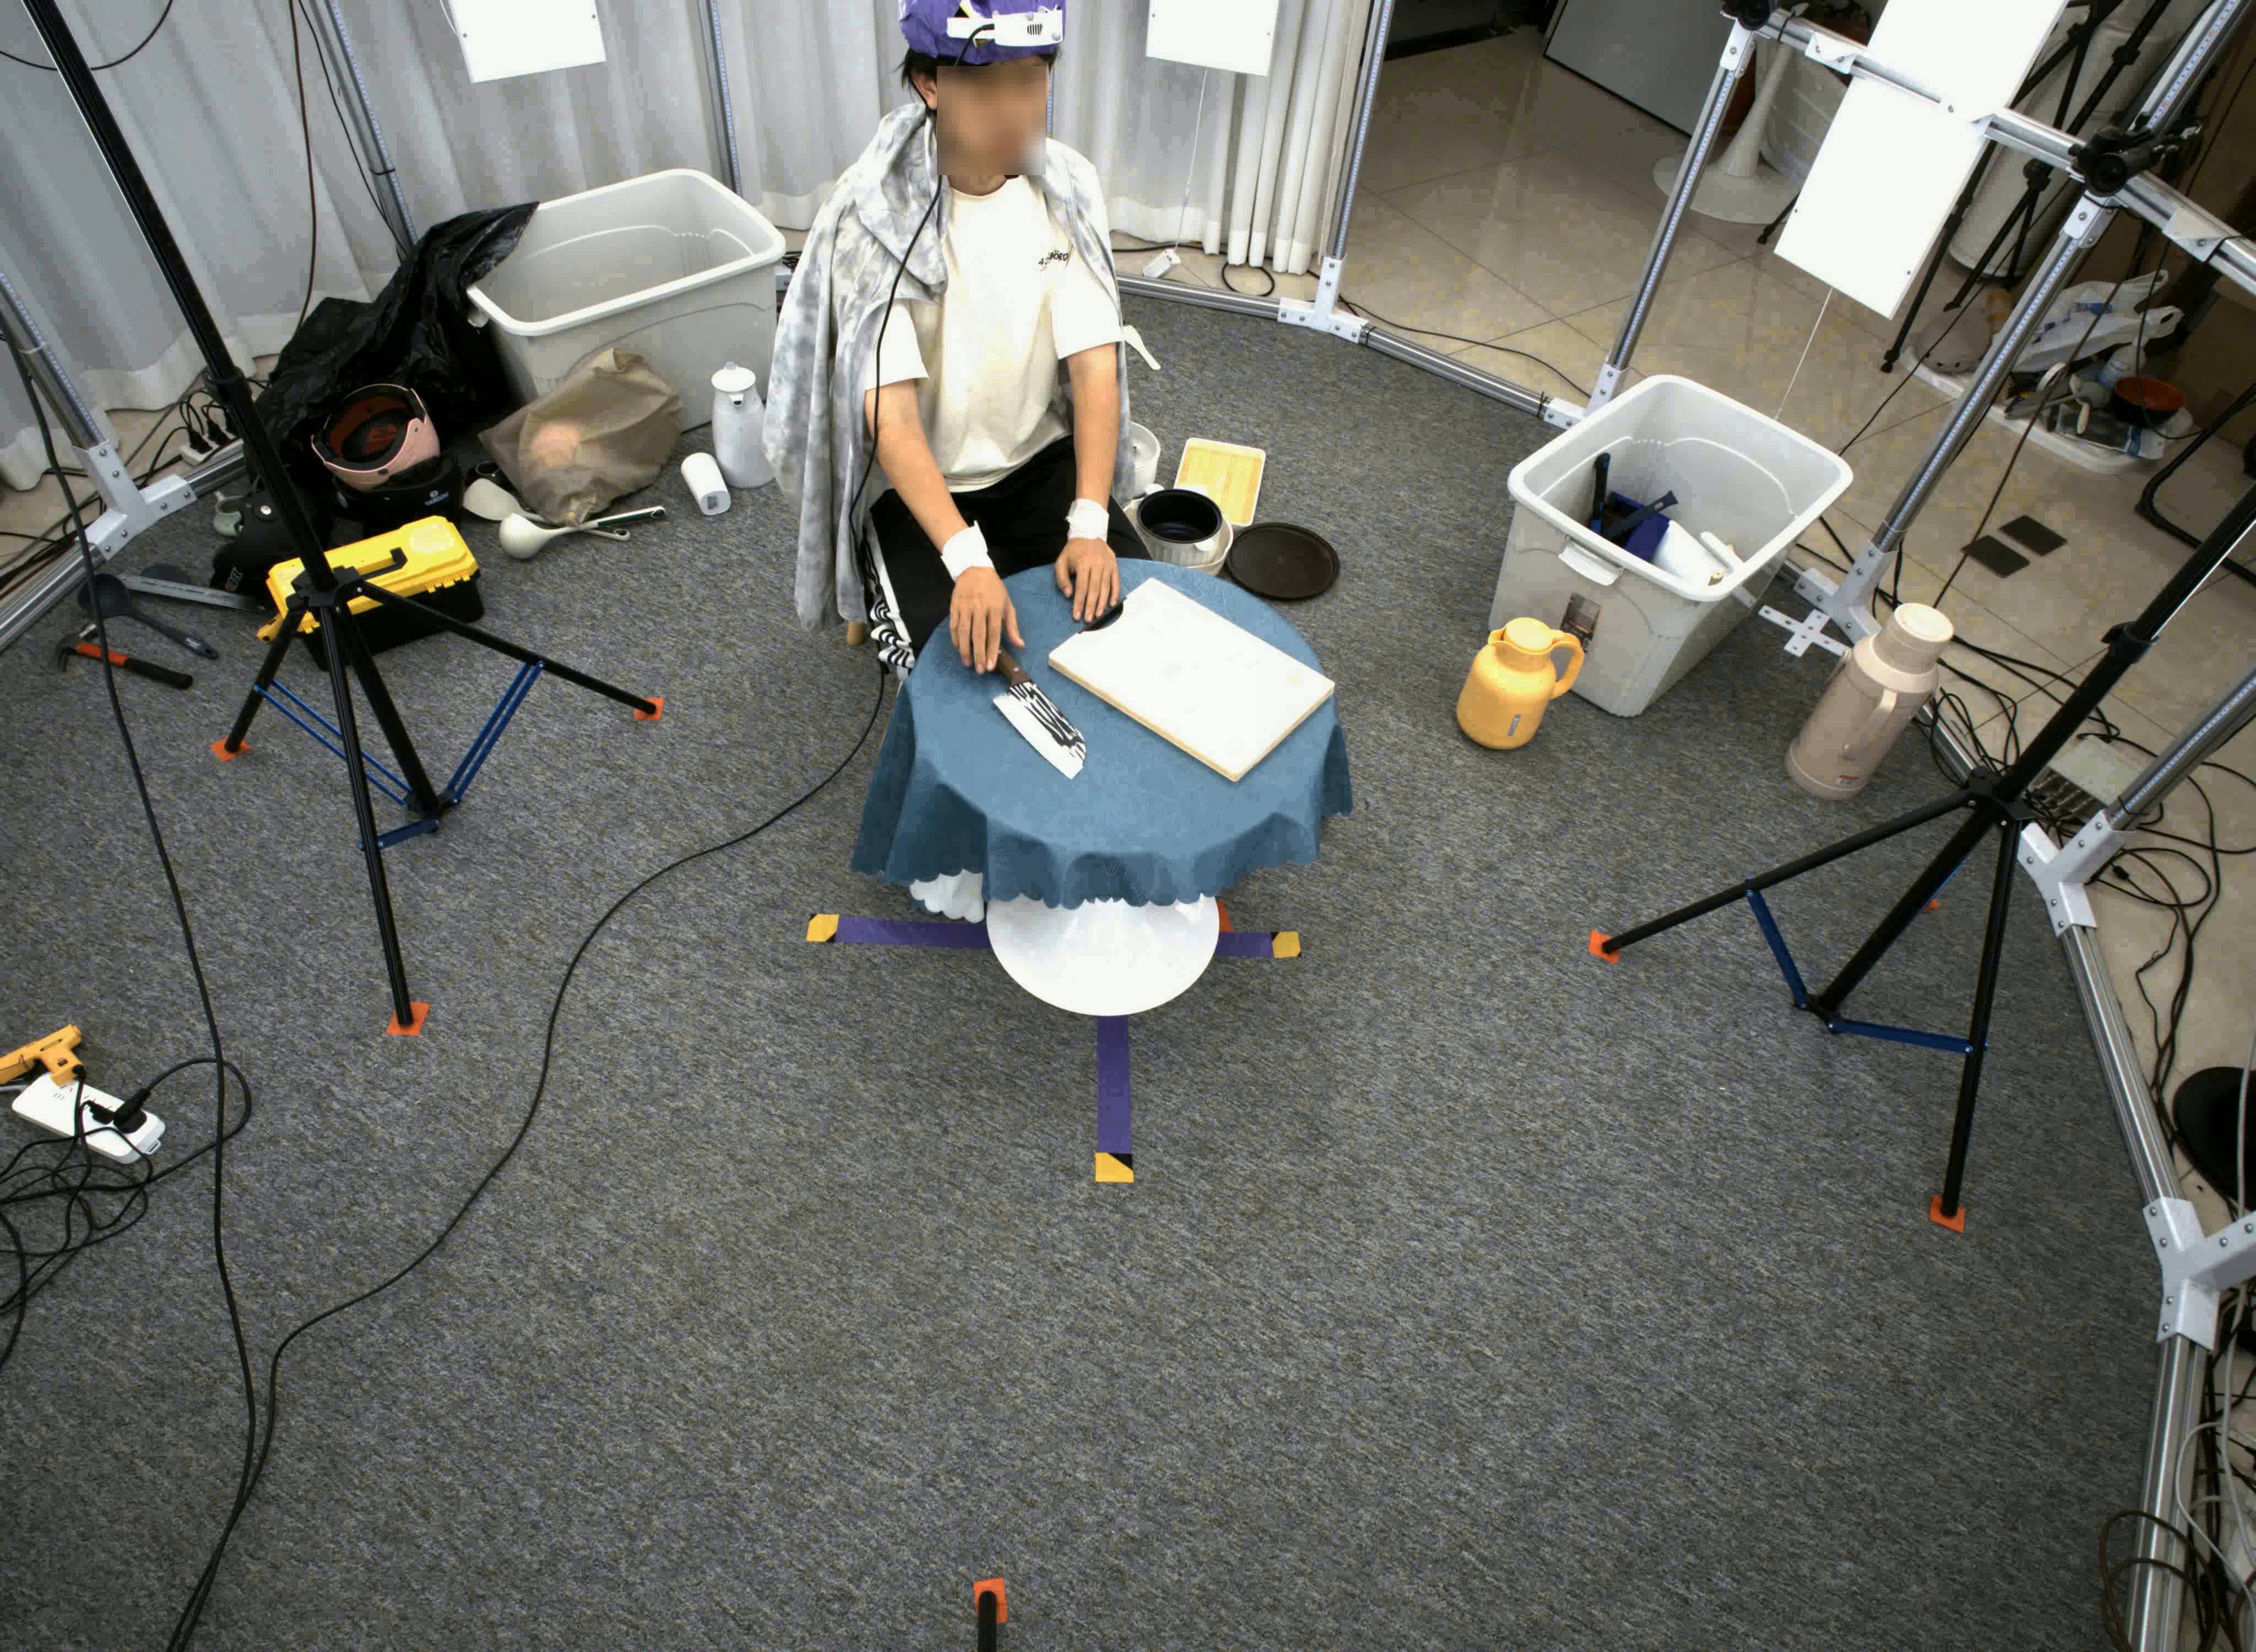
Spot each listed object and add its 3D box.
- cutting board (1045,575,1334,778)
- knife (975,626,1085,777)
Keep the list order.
[{"bbox_3d":[0.087,-0.223,1.850,0.353,0.023,0.254,33,54,23],"label":"cutting board"},{"bbox_3d":[-0.146,-0.176,1.791,0.068,0.023,0.305,-27,58,-23],"label":"knife"}]
